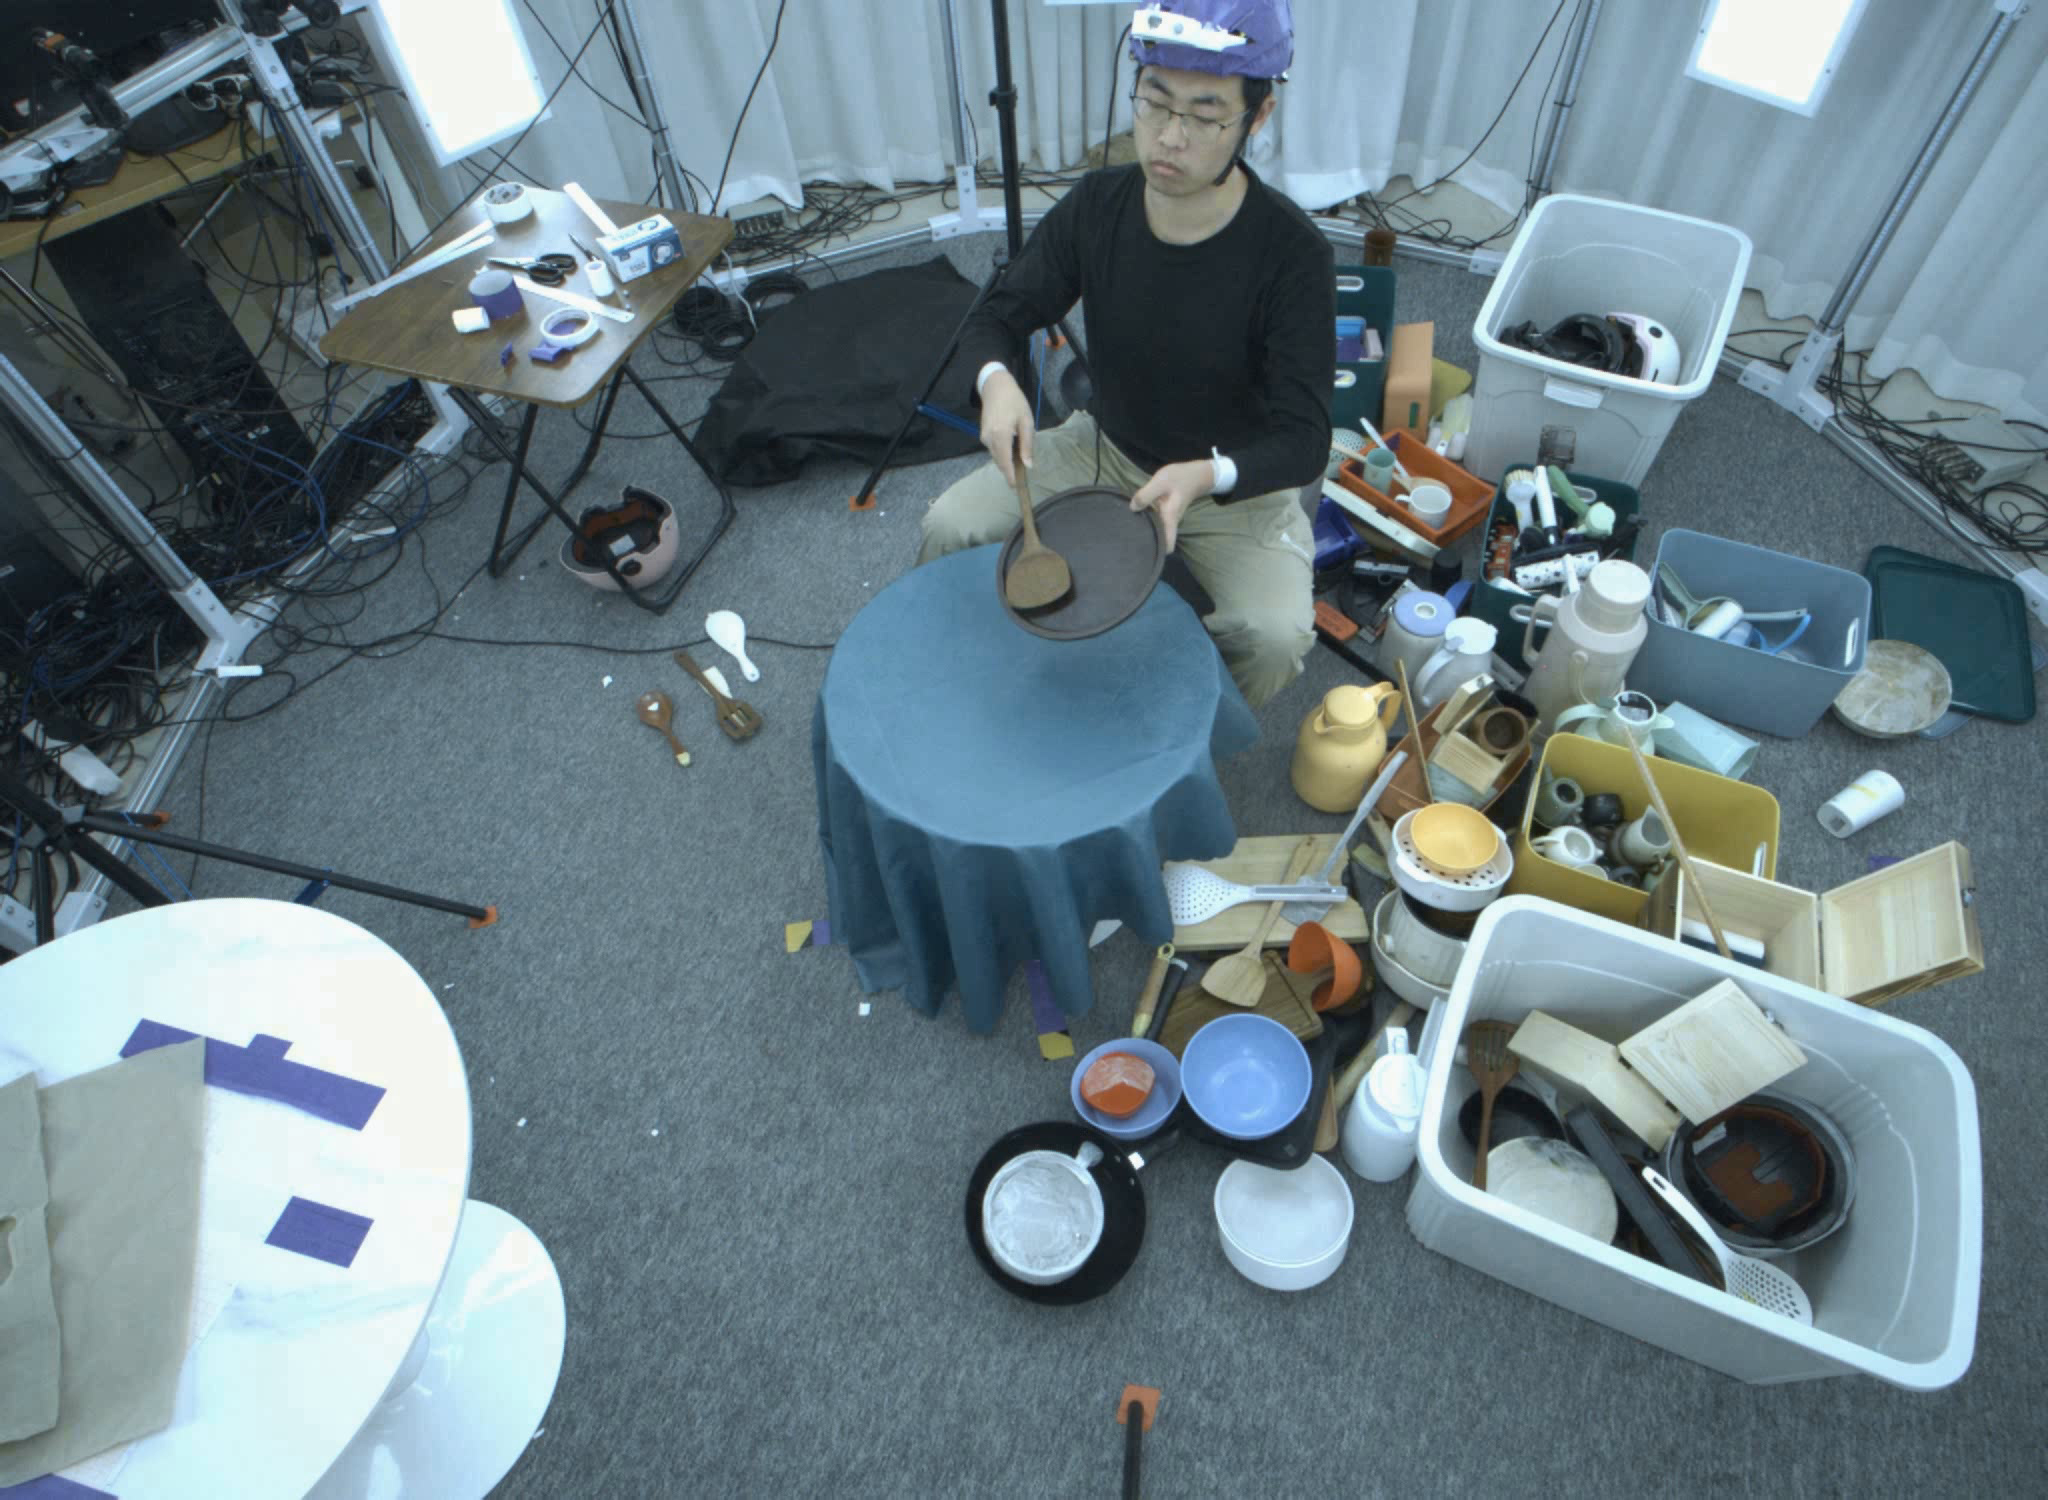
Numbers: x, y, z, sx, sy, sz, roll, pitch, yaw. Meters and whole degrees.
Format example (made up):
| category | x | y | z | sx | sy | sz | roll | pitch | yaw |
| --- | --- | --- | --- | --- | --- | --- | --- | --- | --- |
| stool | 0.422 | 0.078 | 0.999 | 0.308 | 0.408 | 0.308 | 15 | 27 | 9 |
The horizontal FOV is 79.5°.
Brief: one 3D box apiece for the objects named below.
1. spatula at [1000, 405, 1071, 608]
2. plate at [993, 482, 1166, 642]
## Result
| category | x | y | z | sx | sy | sz | roll | pitch | yaw |
| --- | --- | --- | --- | --- | --- | --- | --- | --- | --- |
| spatula | -0.002 | -0.369 | 1.782 | 0.095 | 0.016 | 0.381 | -14 | 63 | 11 |
| plate | 0.077 | -0.264 | 1.723 | 0.252 | 0.029 | 0.253 | -7 | 66 | 18 |
